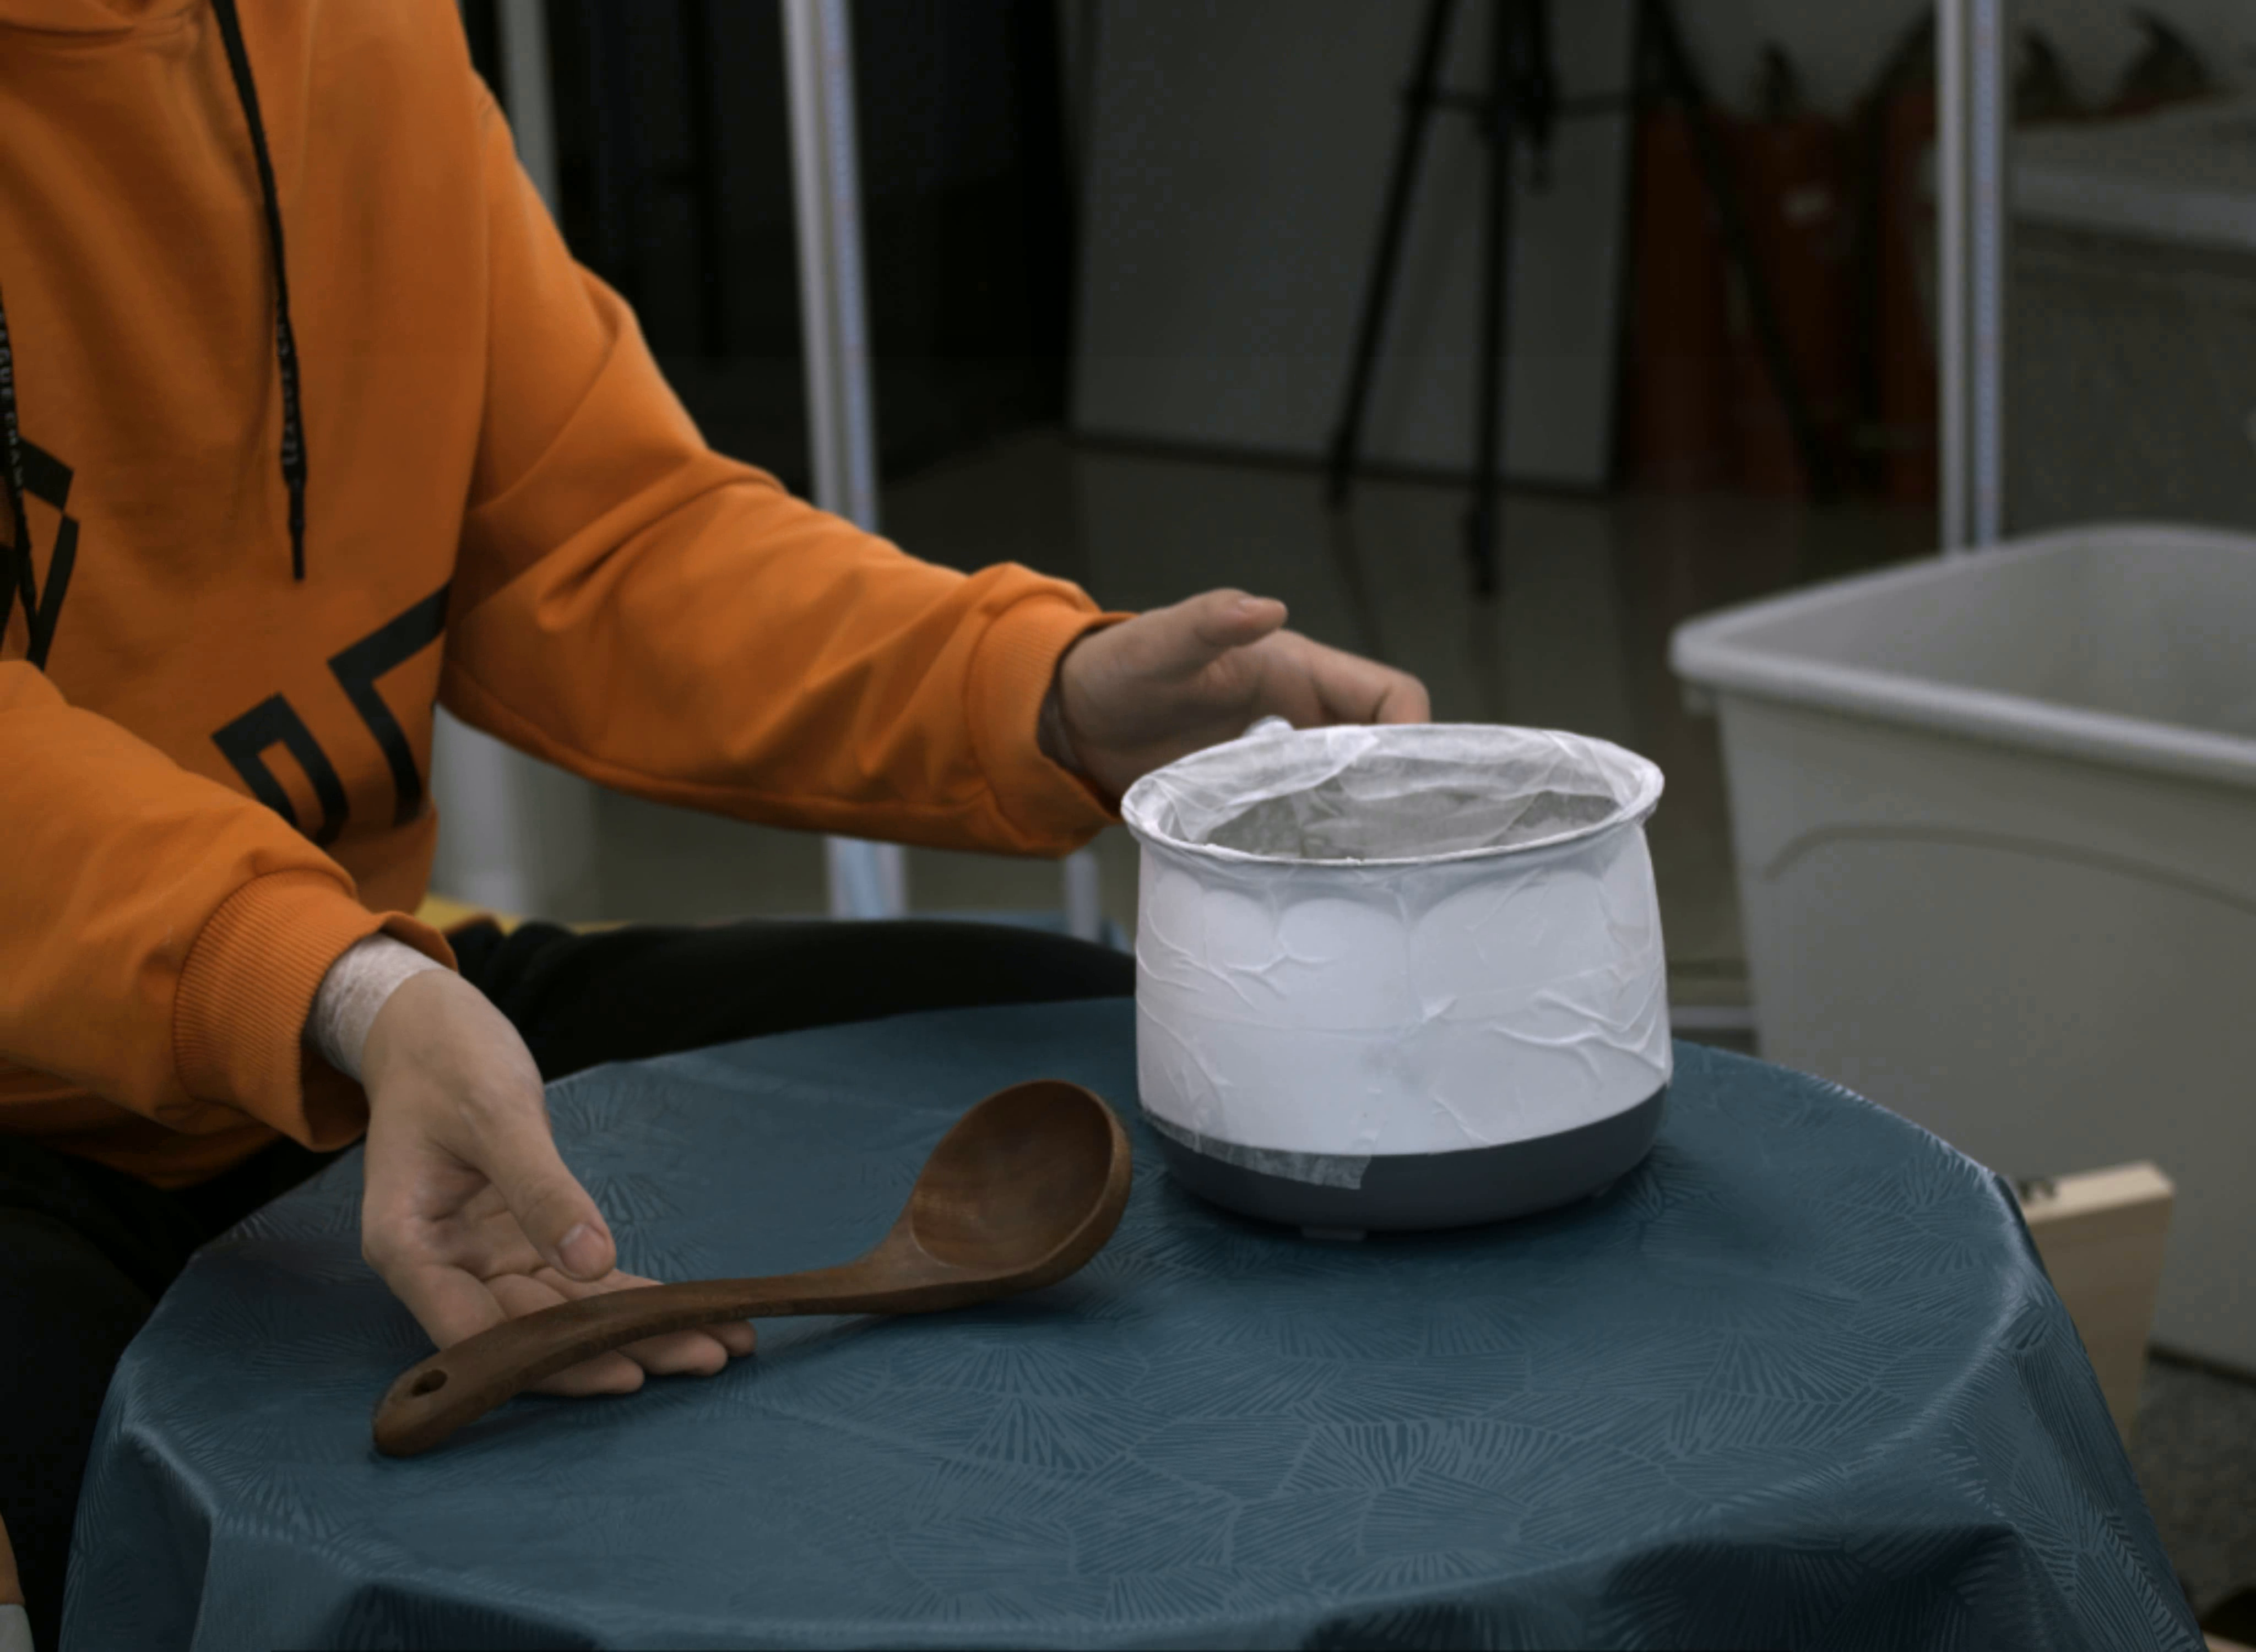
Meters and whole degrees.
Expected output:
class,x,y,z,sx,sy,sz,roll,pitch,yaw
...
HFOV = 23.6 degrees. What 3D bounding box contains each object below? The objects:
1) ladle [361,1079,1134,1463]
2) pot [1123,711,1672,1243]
class,x,y,z,sx,sy,sz,roll,pitch,yaw
ladle,-0.112,0.132,1.627,0.254,0.066,0.077,-12,24,-30
pot,0.078,0.043,1.776,0.175,0.138,0.236,-9,15,-21
